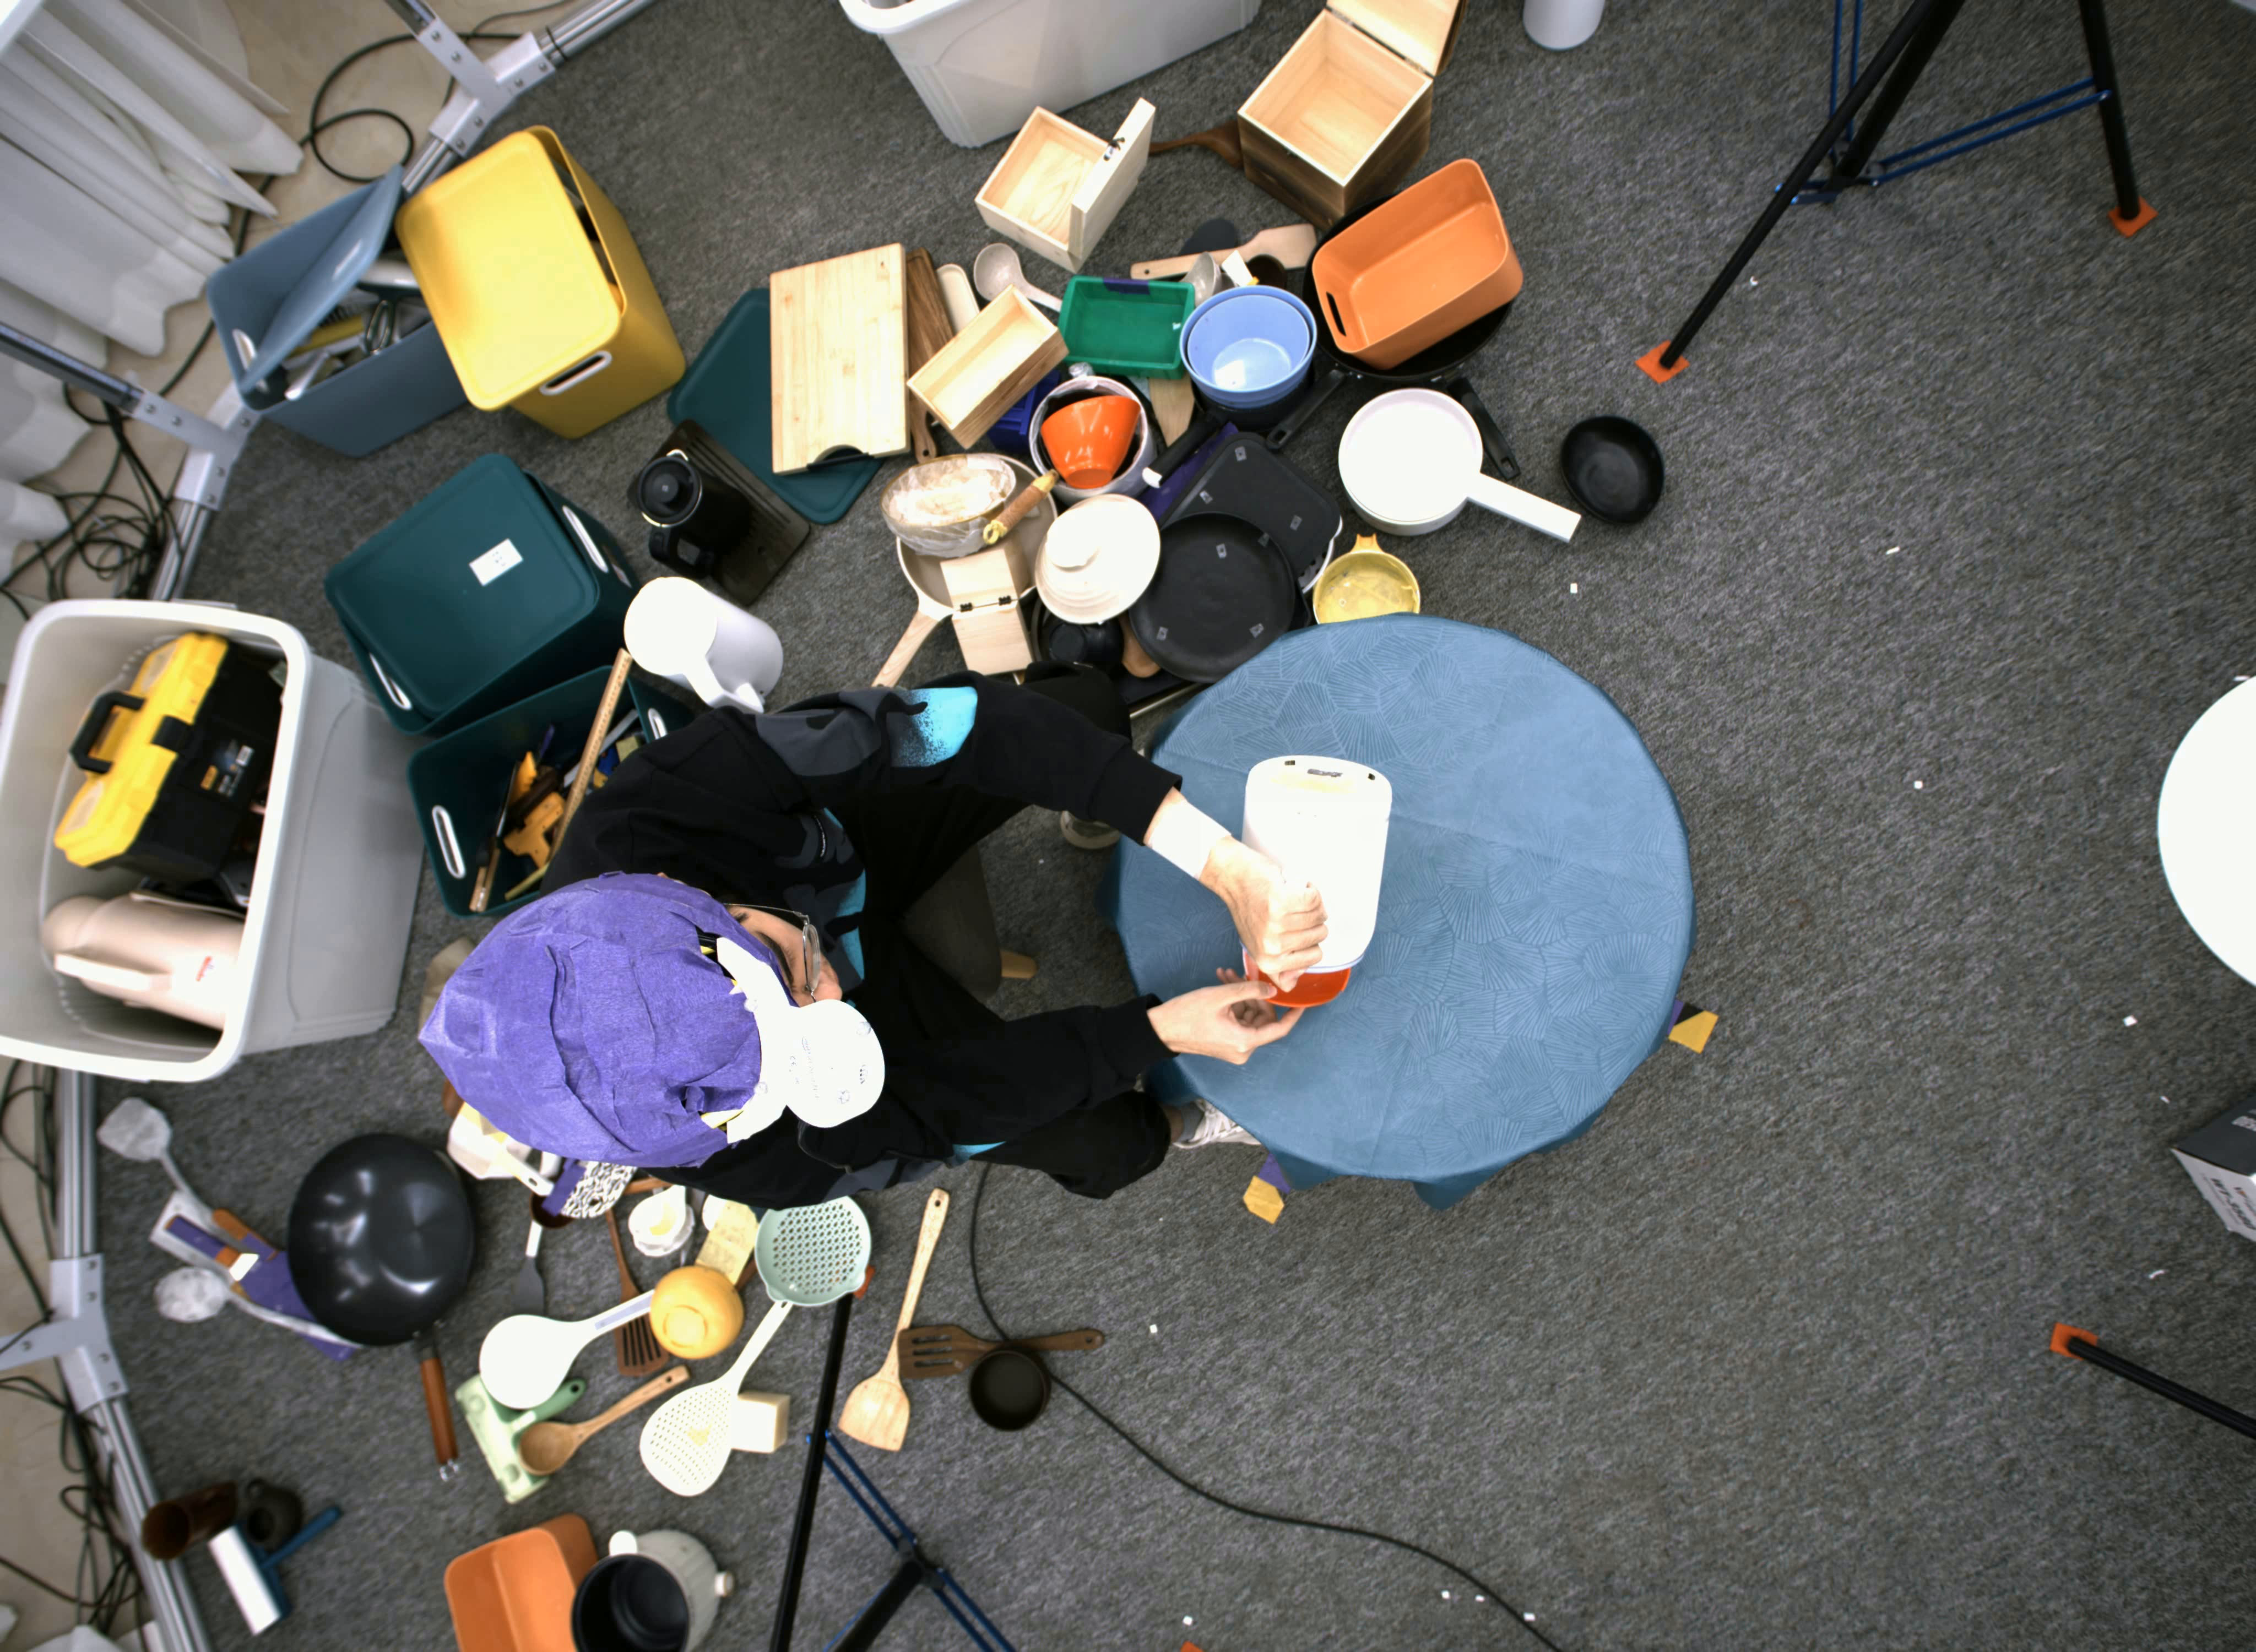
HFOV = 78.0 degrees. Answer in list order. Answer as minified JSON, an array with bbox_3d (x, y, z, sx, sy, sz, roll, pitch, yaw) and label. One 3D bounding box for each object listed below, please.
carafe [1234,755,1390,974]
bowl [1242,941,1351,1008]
[{"bbox_3d":[0.159,0.039,1.245,0.132,0.187,0.185,9,109,16],"label":"carafe"},{"bbox_3d":[0.168,0.130,1.404,0.119,0.052,0.118,0,81,-1],"label":"bowl"}]
